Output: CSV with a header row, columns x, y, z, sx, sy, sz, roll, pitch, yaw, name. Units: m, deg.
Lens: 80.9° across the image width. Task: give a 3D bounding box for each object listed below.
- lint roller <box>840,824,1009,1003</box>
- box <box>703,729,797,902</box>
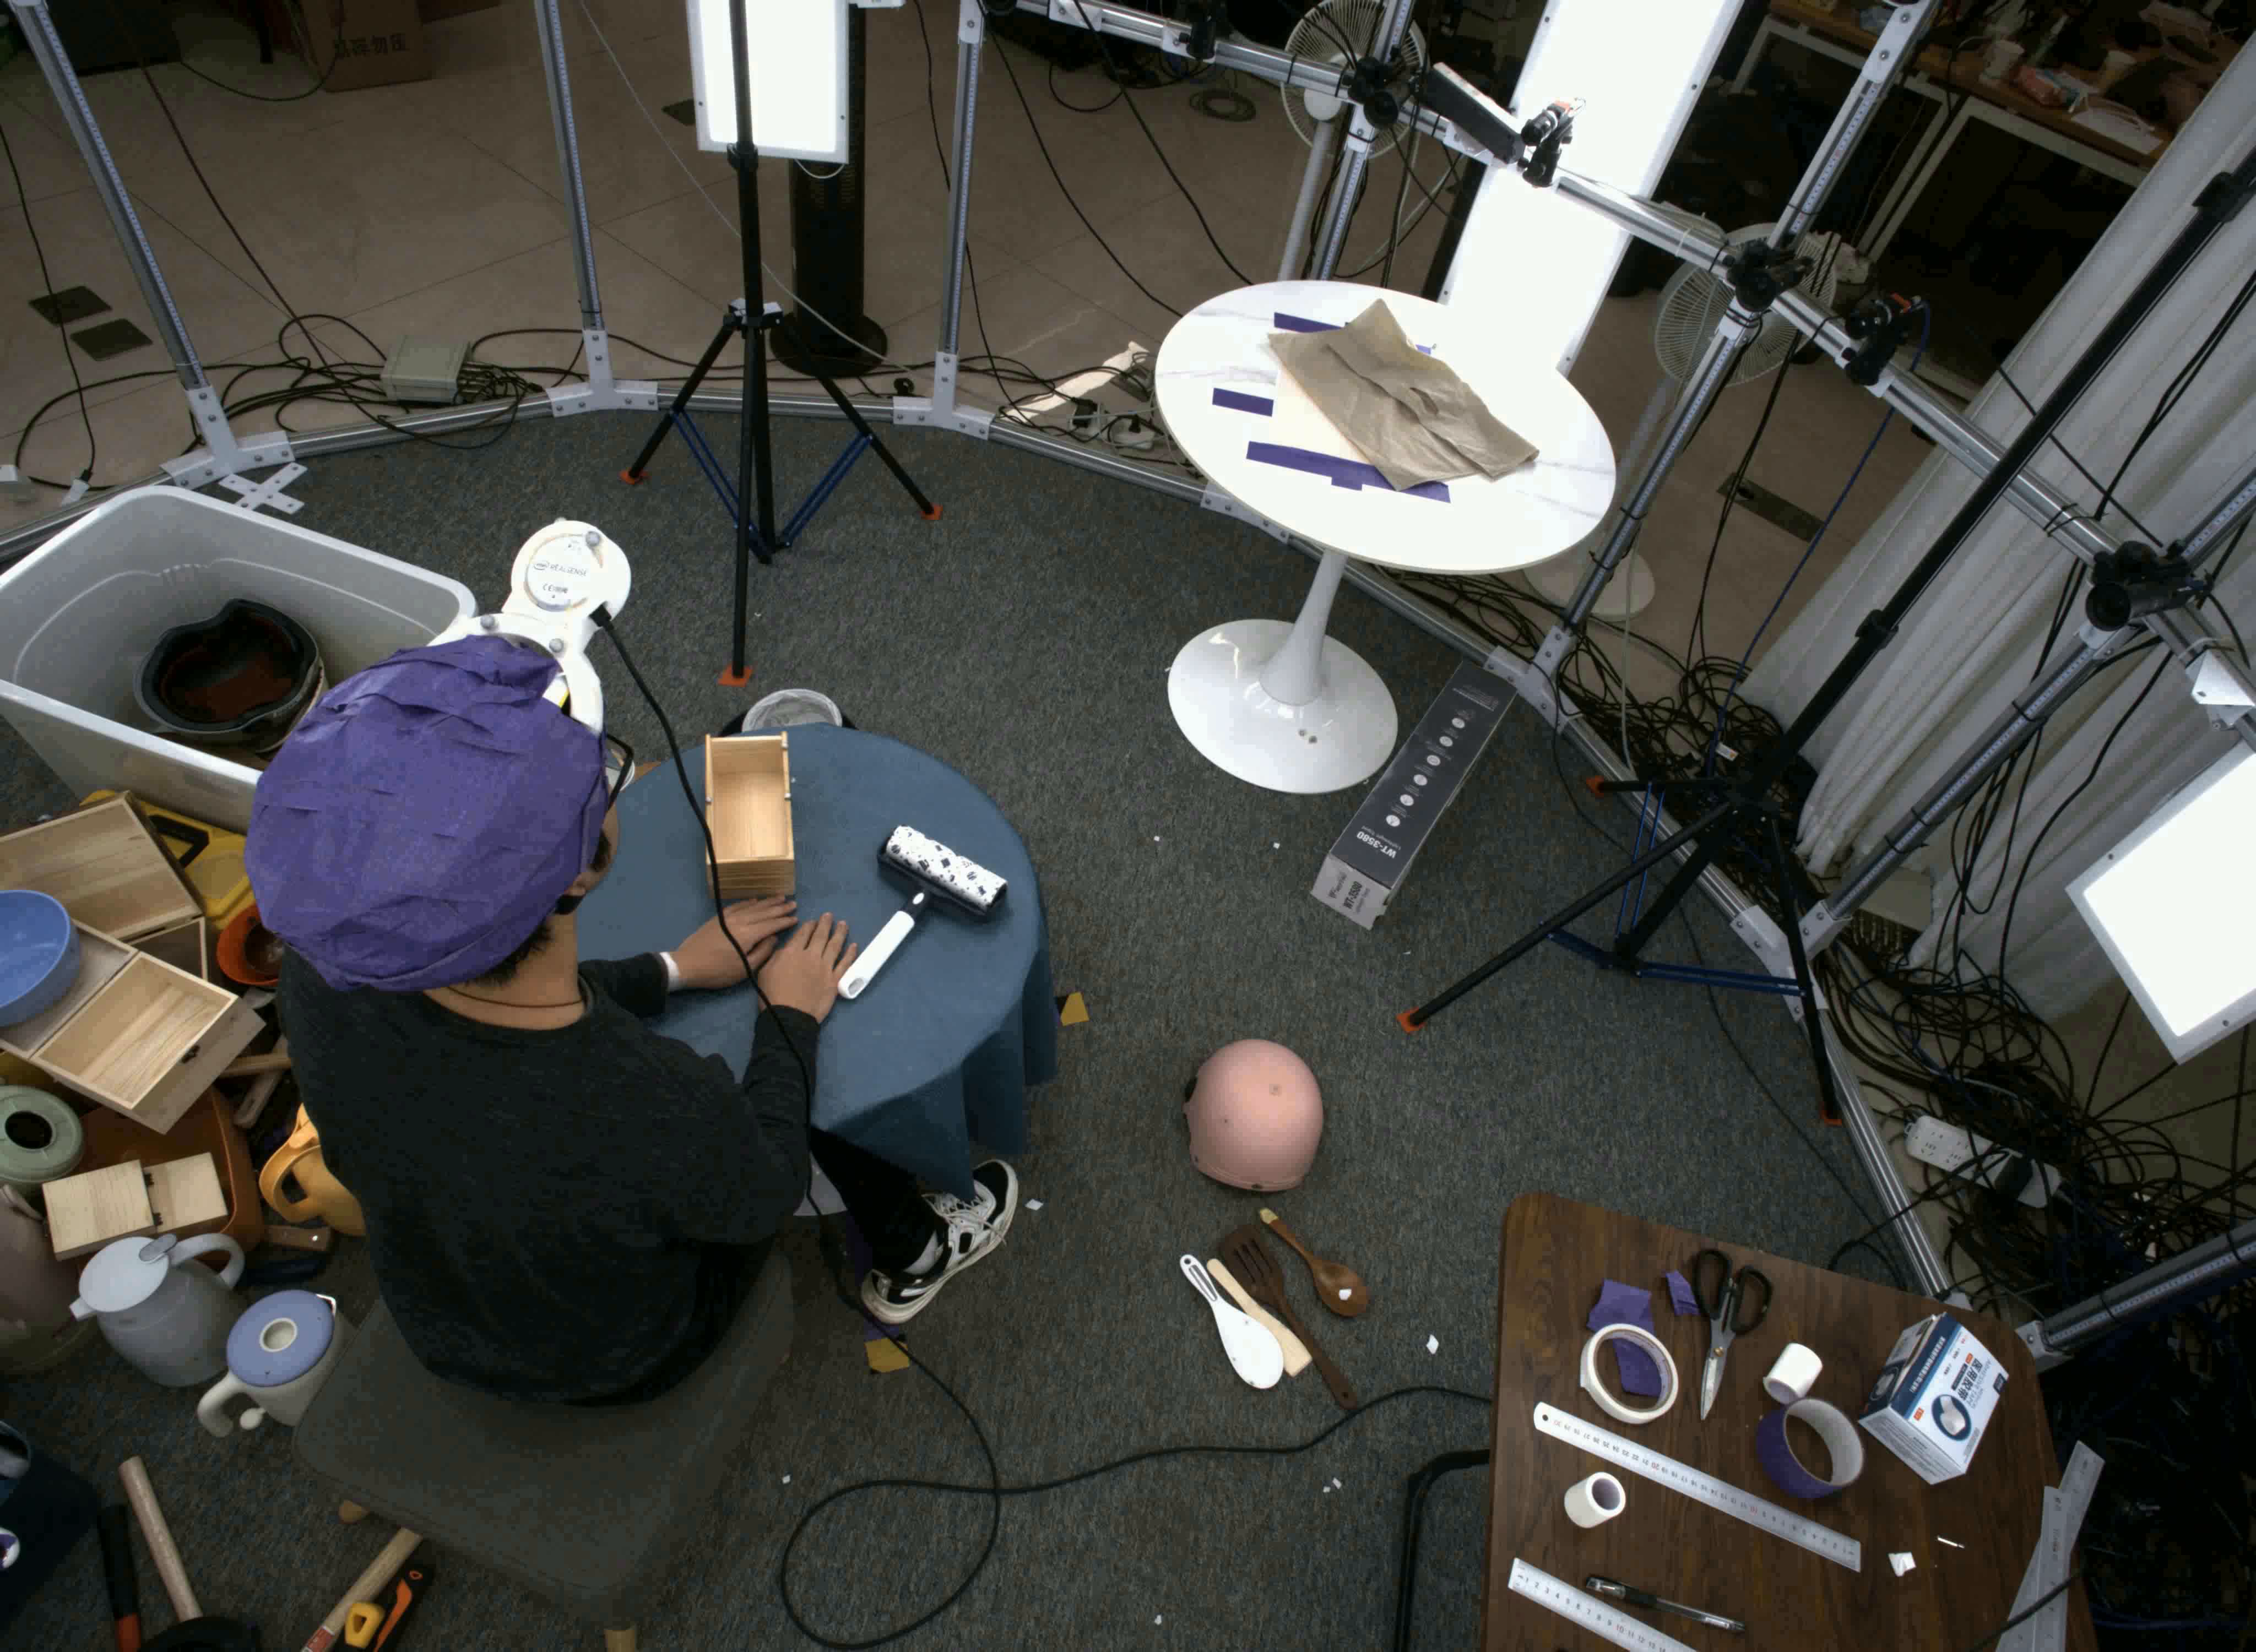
x,y,z,sx,sy,sz,roll,pitch,yaw,name
-0.283,0.120,1.638,0.174,0.051,0.246,29,53,7,lint roller
-0.488,-0.017,1.663,0.108,0.082,0.206,-4,55,-16,box
